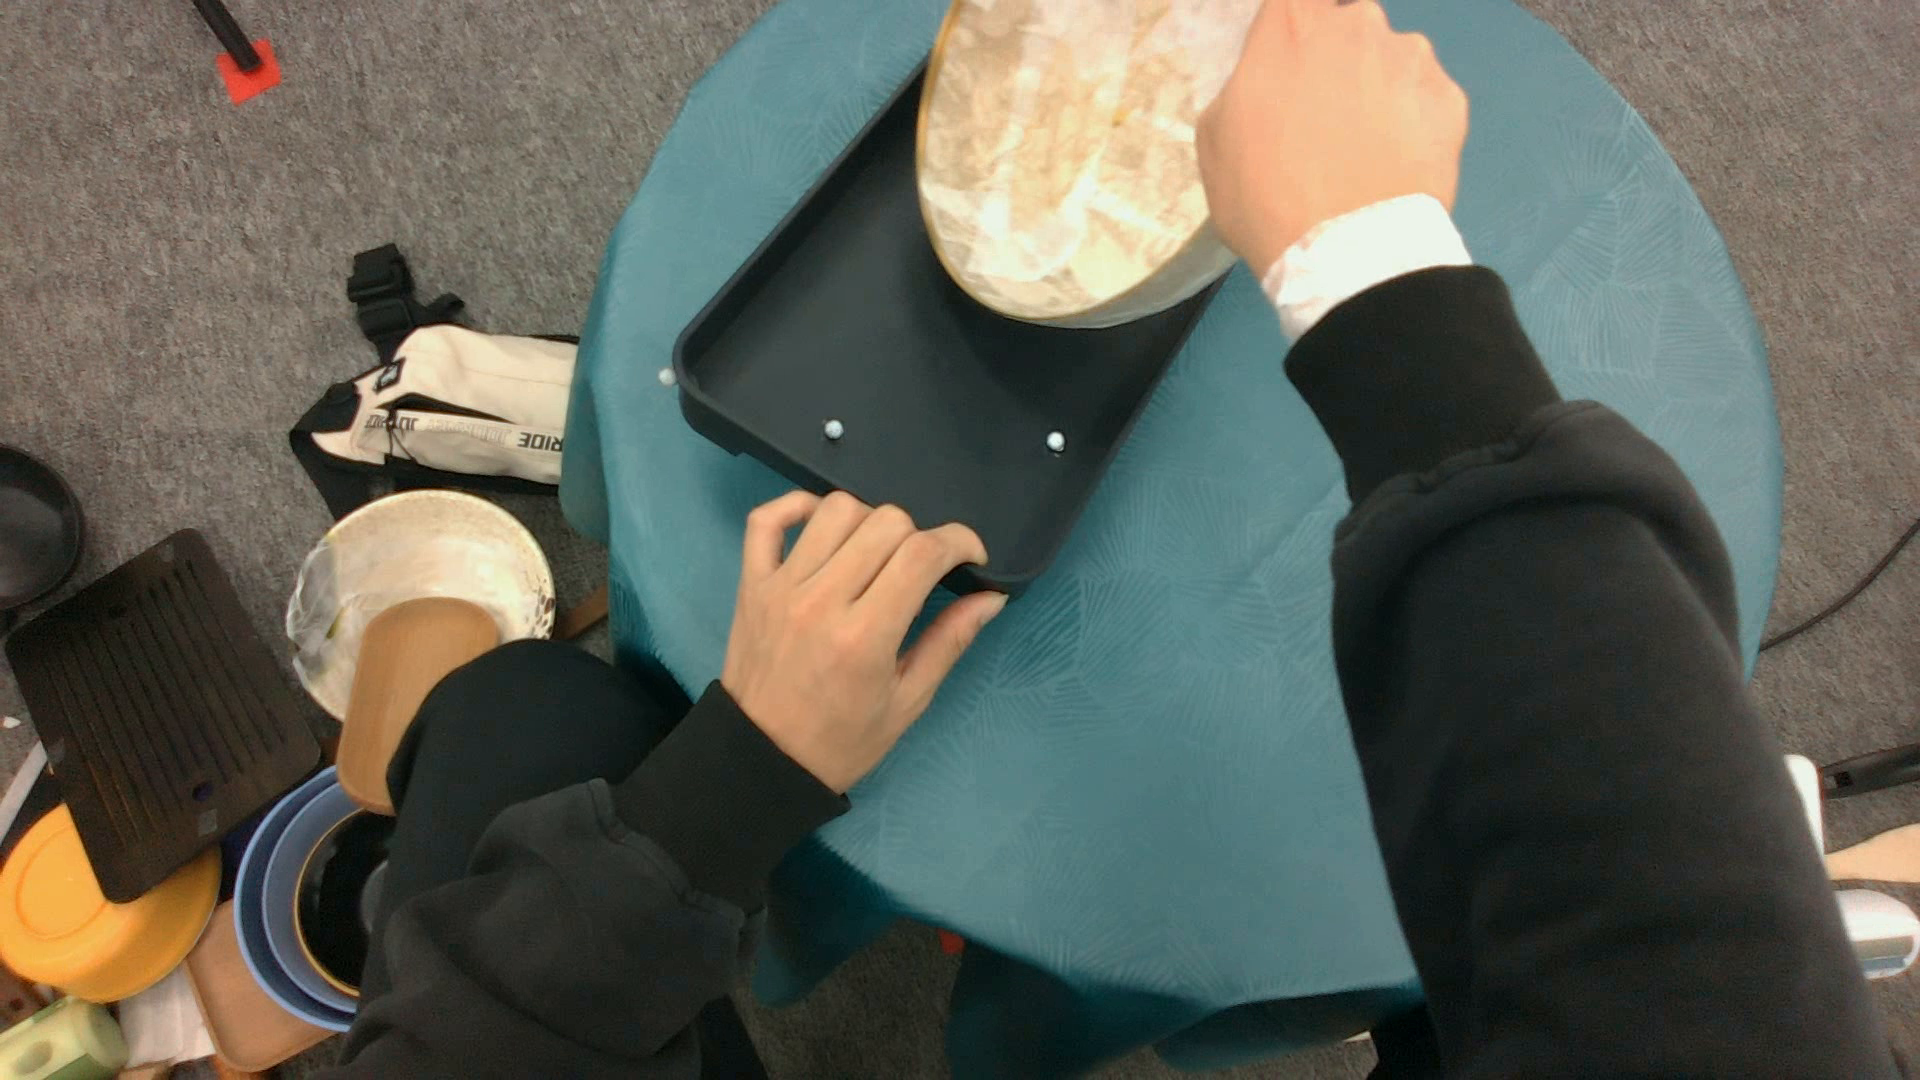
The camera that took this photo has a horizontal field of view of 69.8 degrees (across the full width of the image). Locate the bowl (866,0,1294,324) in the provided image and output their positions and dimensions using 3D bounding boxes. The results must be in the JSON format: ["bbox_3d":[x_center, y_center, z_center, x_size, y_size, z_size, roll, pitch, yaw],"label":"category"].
[{"bbox_3d":[0.063,-0.190,0.606,0.095,0.214,0.215,9,64,-48],"label":"bowl"}]

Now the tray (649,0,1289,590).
[{"bbox_3d":[0.016,-0.137,0.651,0.184,0.037,0.319,32,60,5],"label":"tray"}]
